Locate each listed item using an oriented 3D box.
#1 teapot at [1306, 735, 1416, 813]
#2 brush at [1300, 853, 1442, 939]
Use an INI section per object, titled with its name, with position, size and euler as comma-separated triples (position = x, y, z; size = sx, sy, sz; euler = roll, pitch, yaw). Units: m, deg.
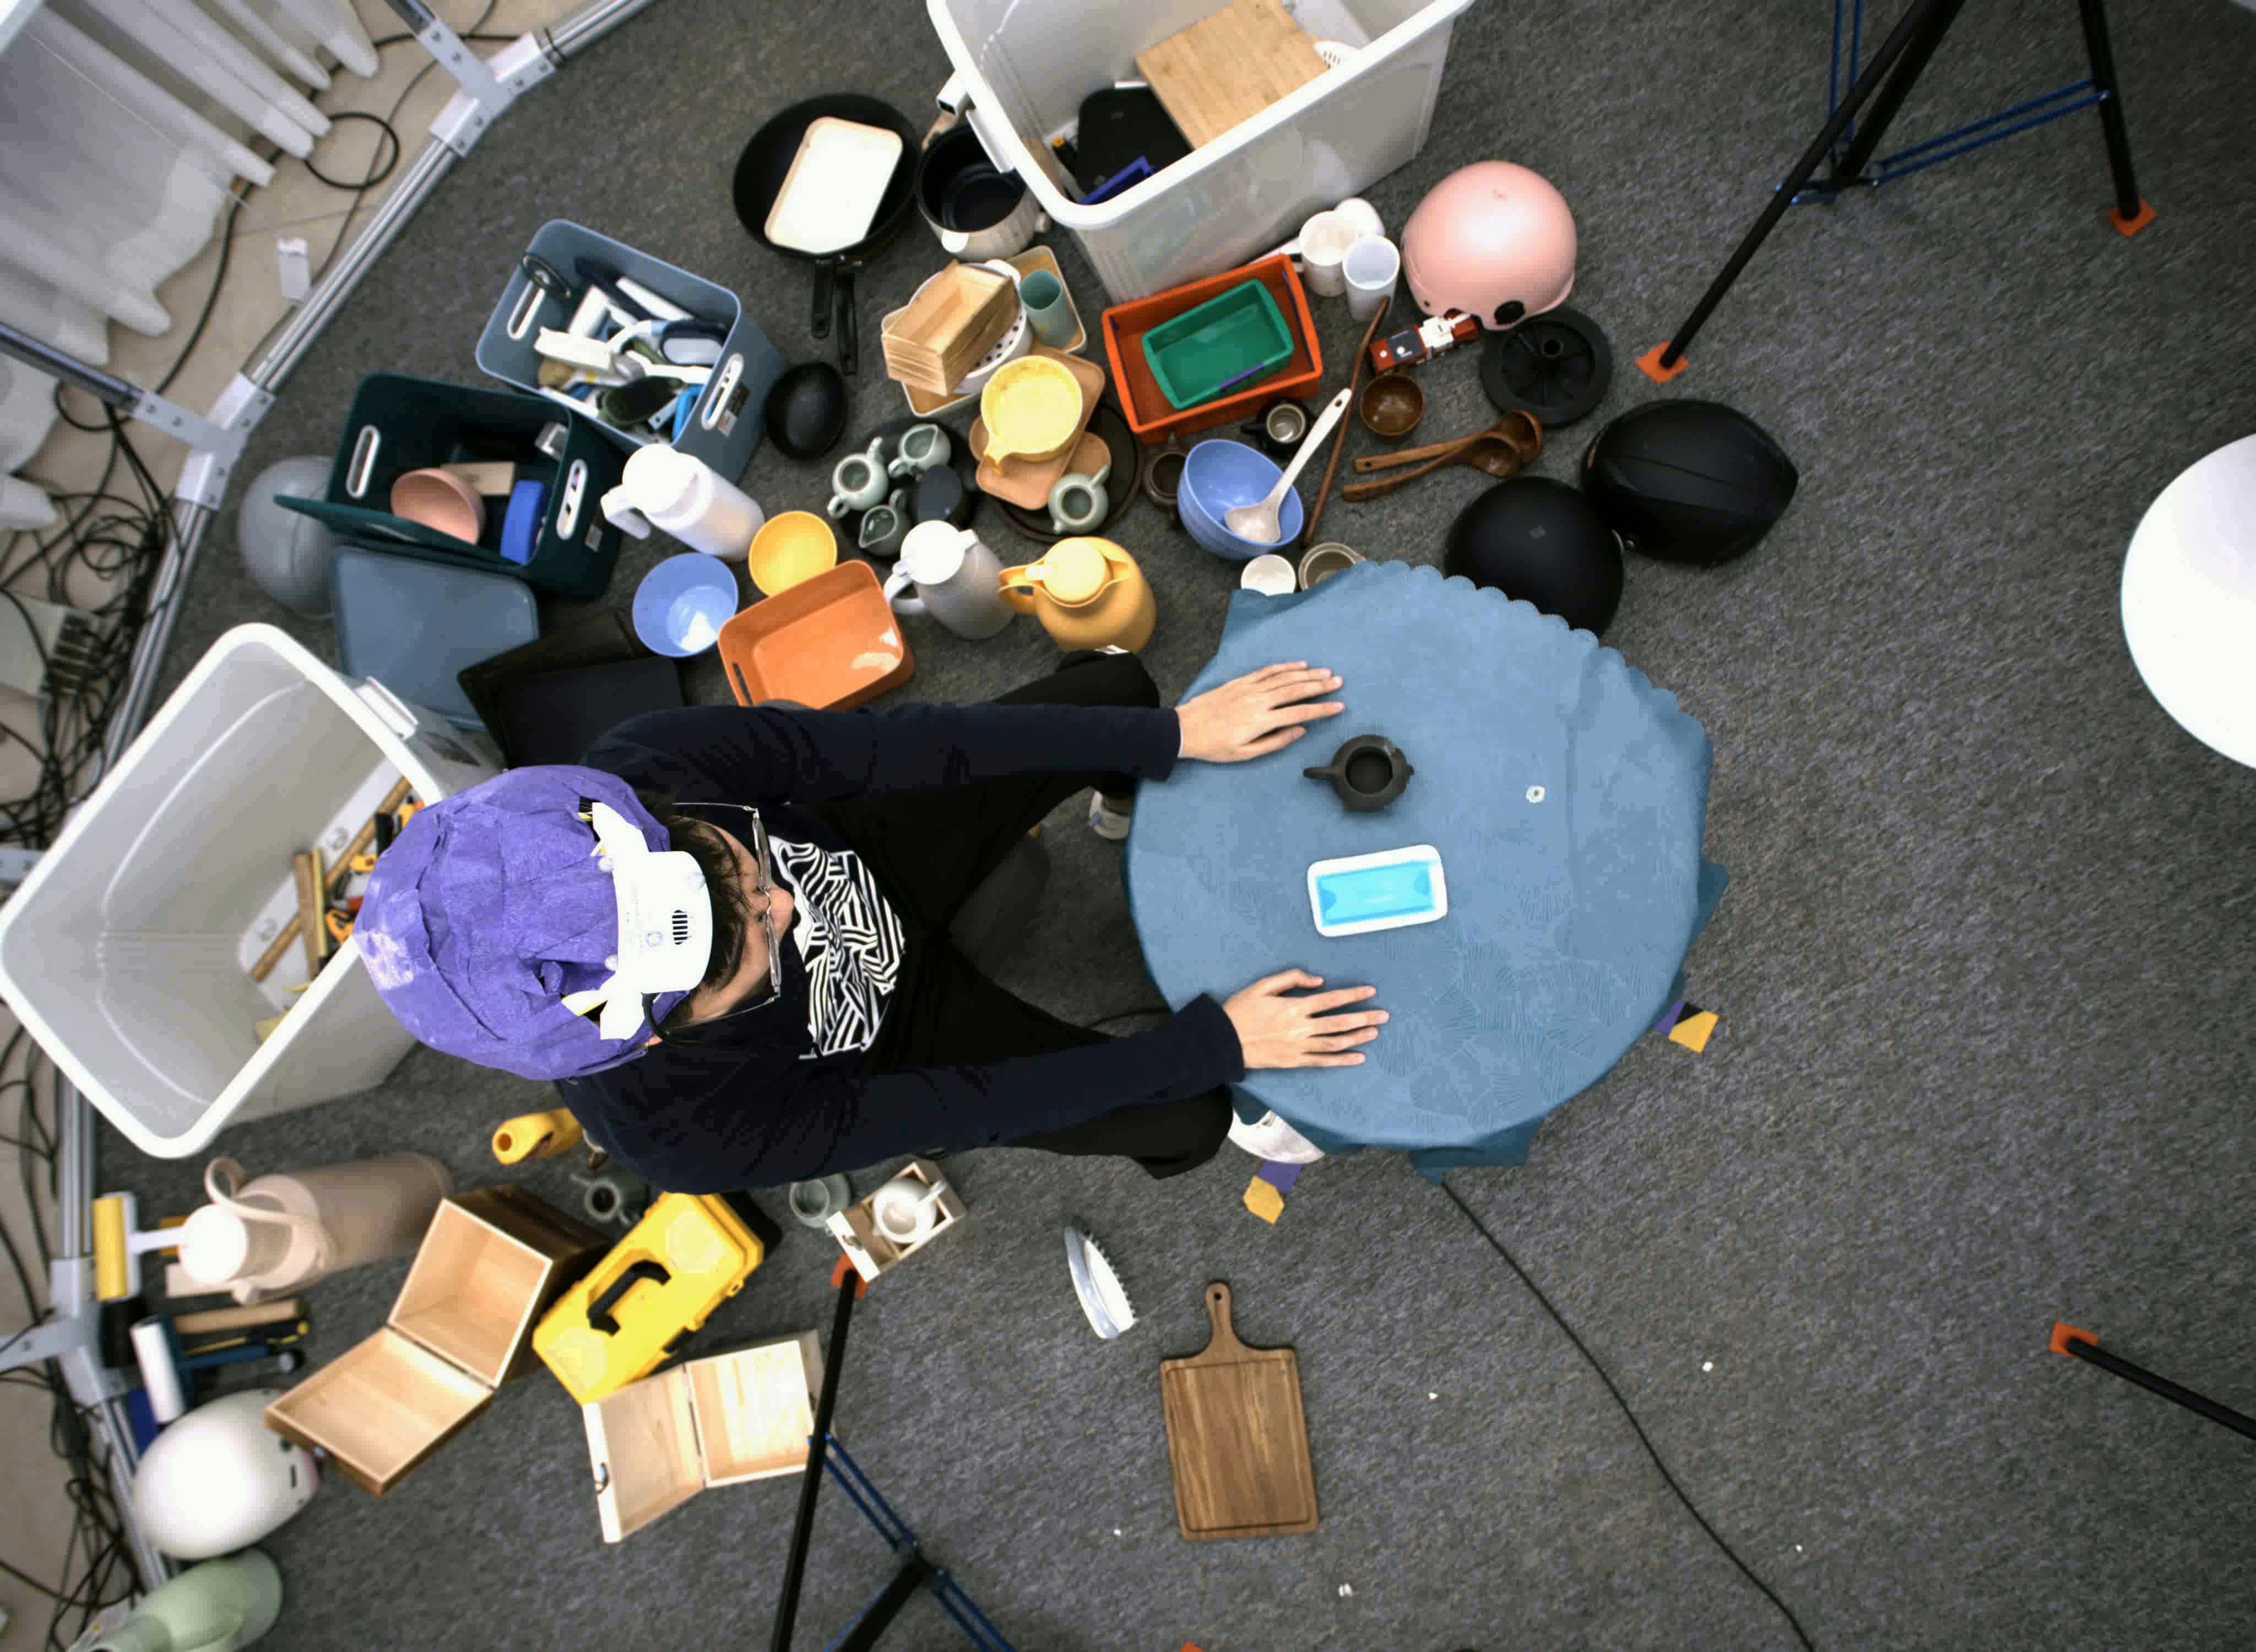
[teapot]
position = 0.243, -0.057, 1.445
size = 0.114, 0.053, 0.082
euler = 5, 83, 8
[brush]
position = 0.251, 0.068, 1.432
size = 0.144, 0.056, 0.083
euler = -7, 81, 8
